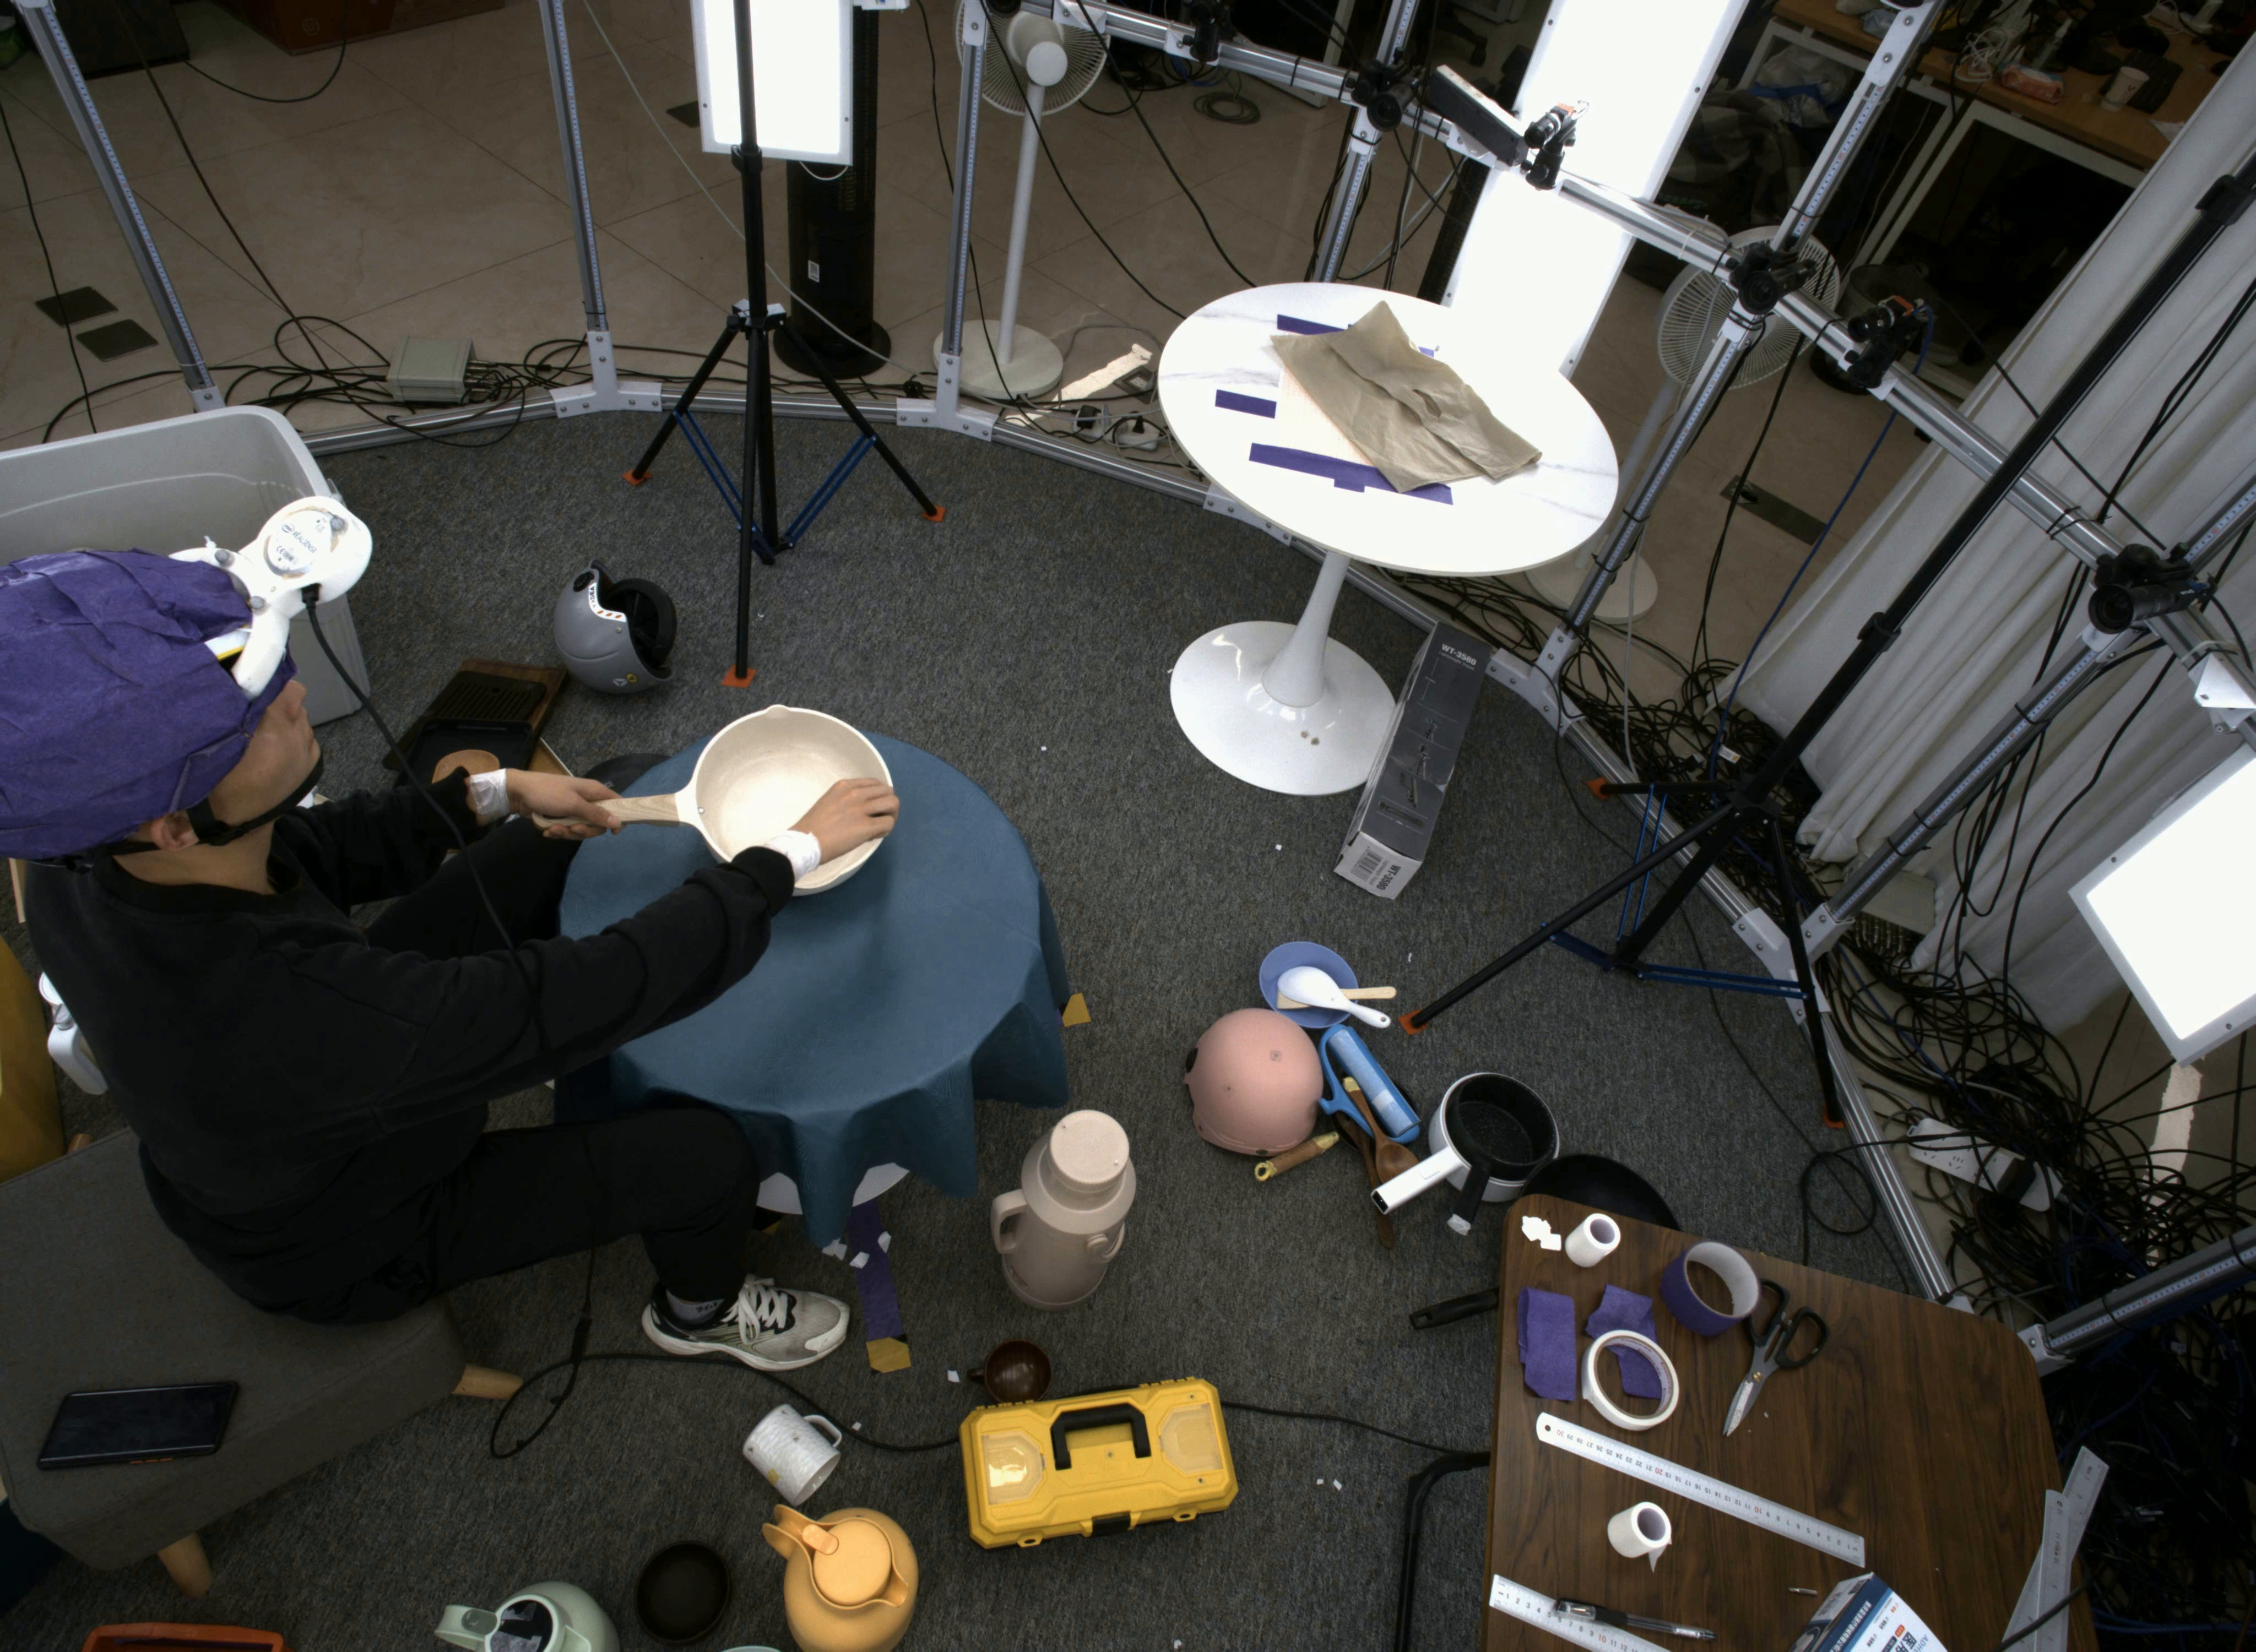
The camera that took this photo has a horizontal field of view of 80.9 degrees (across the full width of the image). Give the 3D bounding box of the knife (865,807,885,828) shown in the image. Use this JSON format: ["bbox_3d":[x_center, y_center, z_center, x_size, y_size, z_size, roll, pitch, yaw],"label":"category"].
[{"bbox_3d":[-0.310,-0.012,1.596,0.017,0.222,0.026,42,86,-9],"label":"knife"}]

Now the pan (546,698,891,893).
[{"bbox_3d":[-0.516,-0.021,1.618,0.438,0.102,0.260,-9,70,-24],"label":"pan"}]
